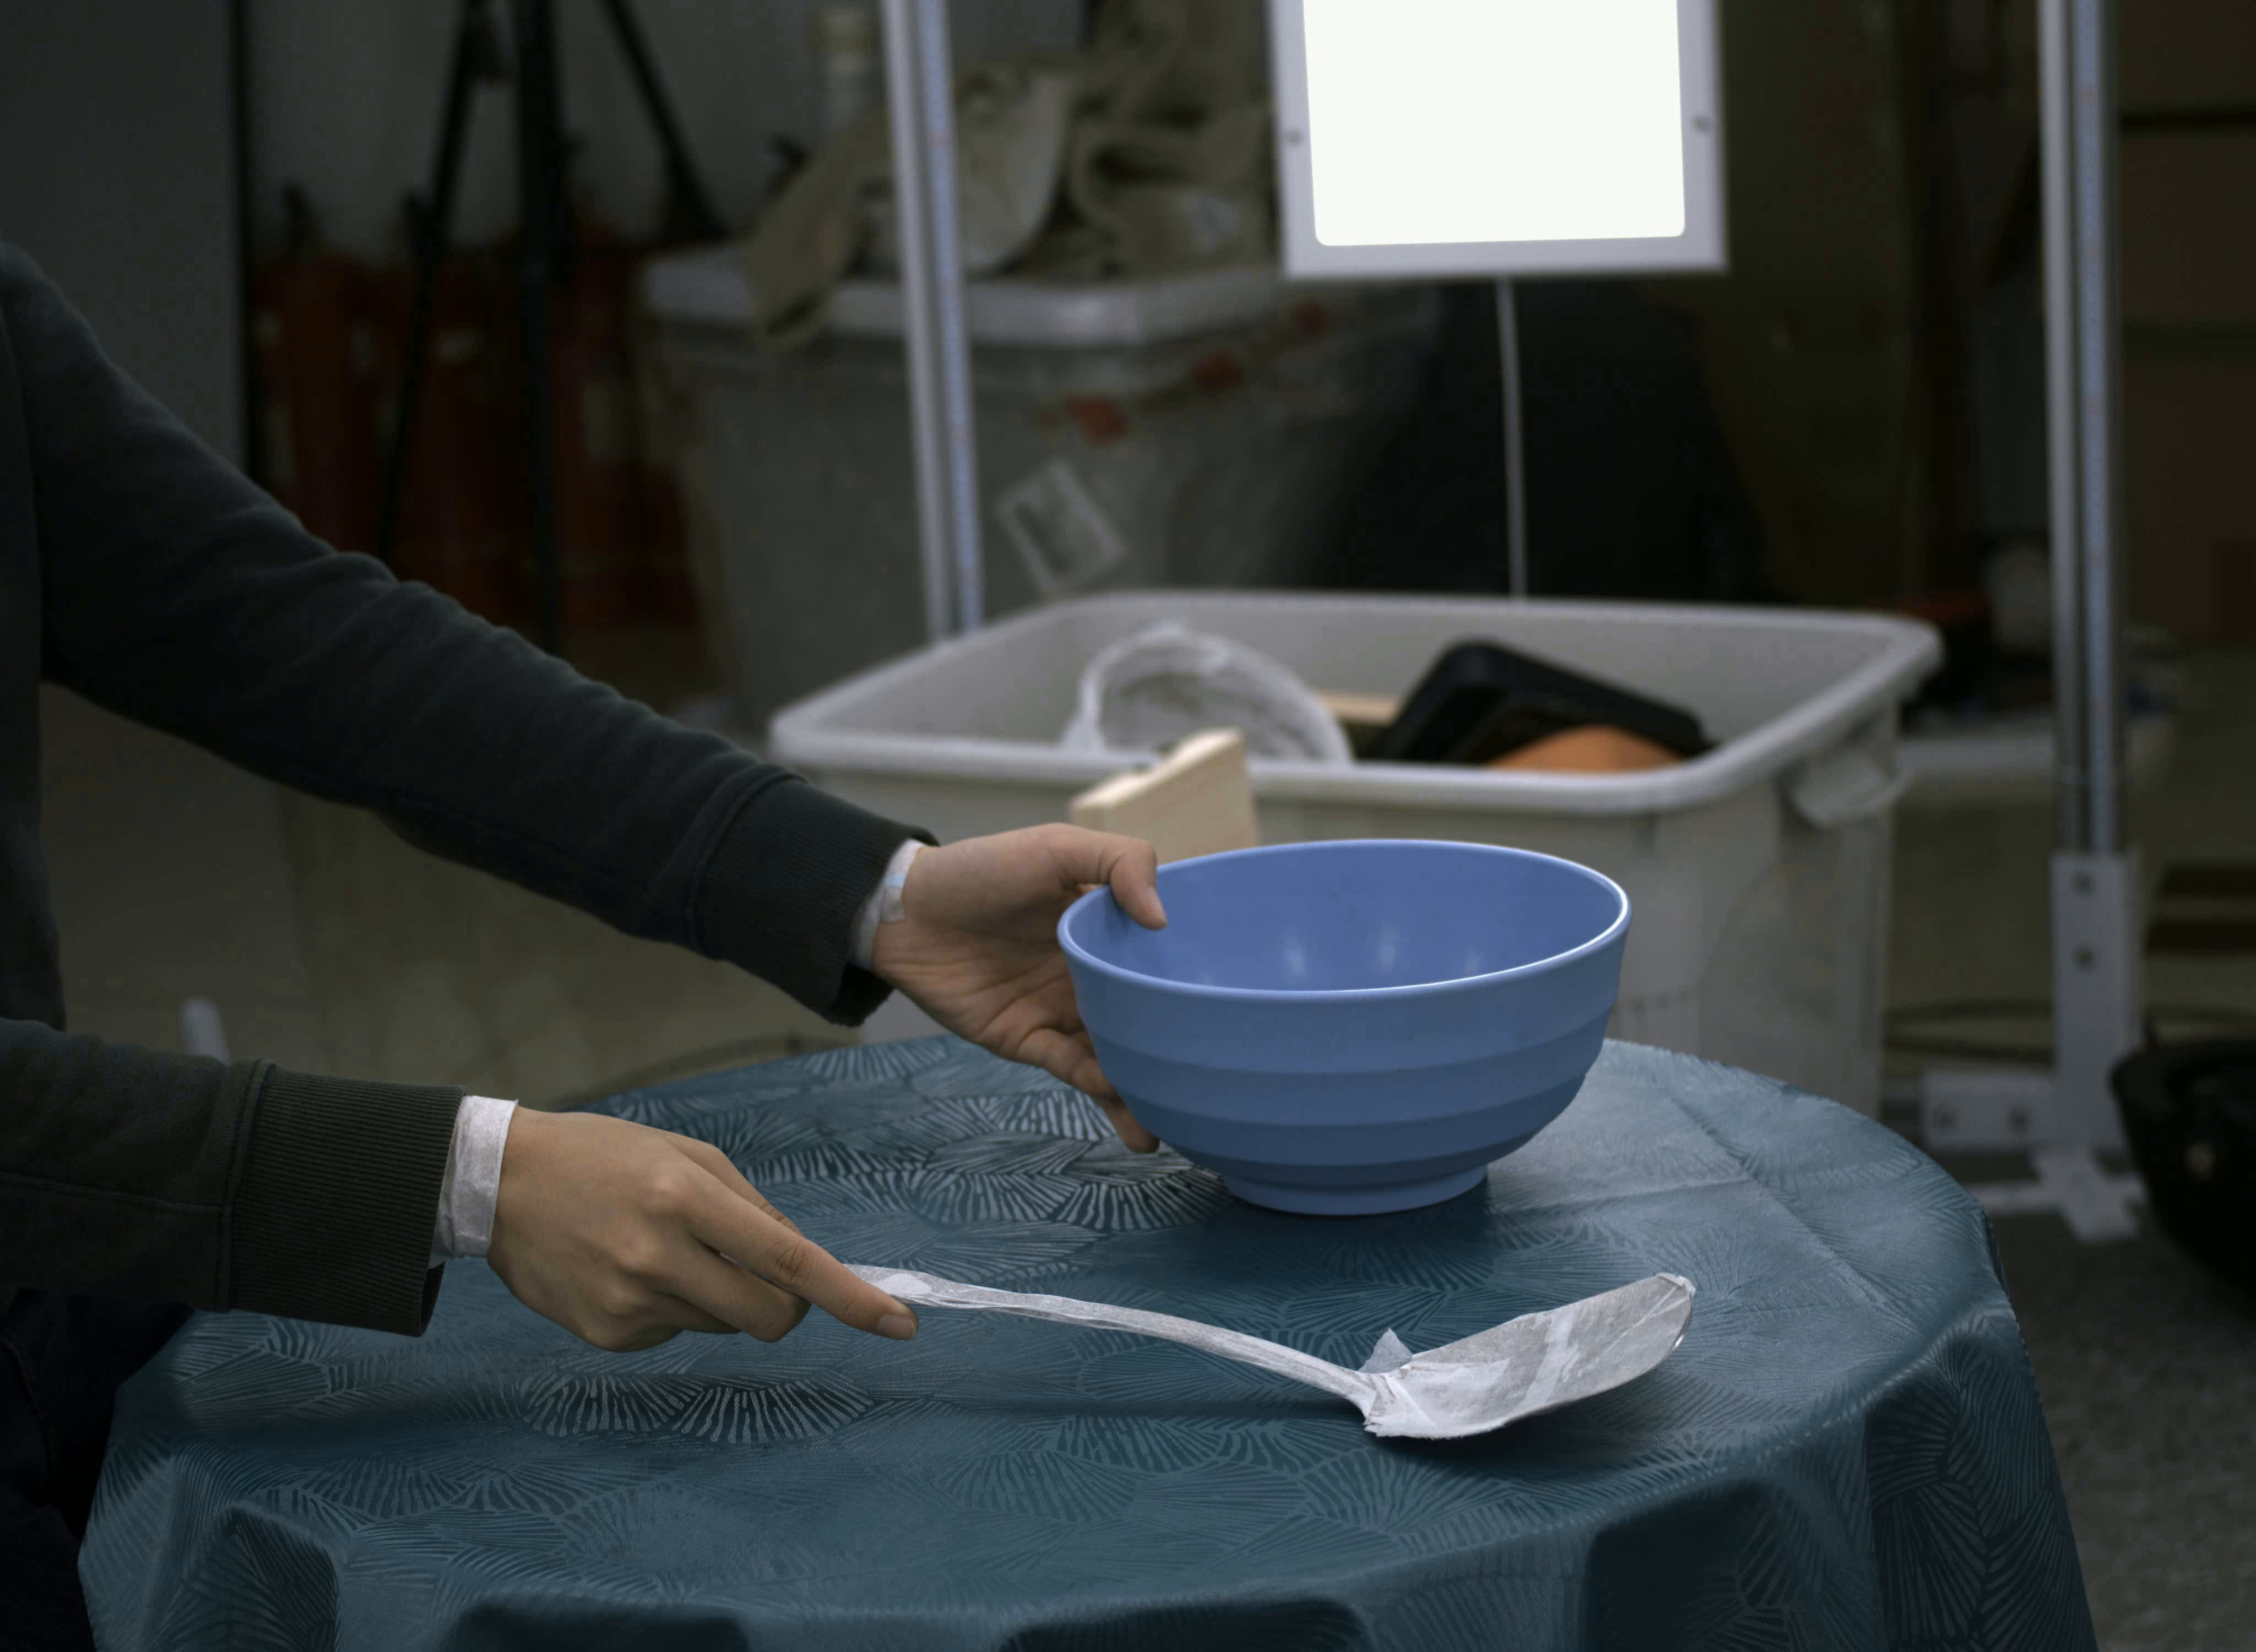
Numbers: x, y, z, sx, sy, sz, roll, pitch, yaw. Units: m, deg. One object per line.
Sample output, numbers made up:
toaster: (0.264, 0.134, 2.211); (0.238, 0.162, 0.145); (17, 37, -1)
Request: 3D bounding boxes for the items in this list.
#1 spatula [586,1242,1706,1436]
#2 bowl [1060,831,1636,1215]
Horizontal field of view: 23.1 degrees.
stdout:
spatula: (-0.004, 0.145, 1.691); (0.369, 0.045, 0.097); (7, 21, 19)
bowl: (0.076, 0.073, 1.880); (0.196, 0.096, 0.196); (-3, 15, -1)
